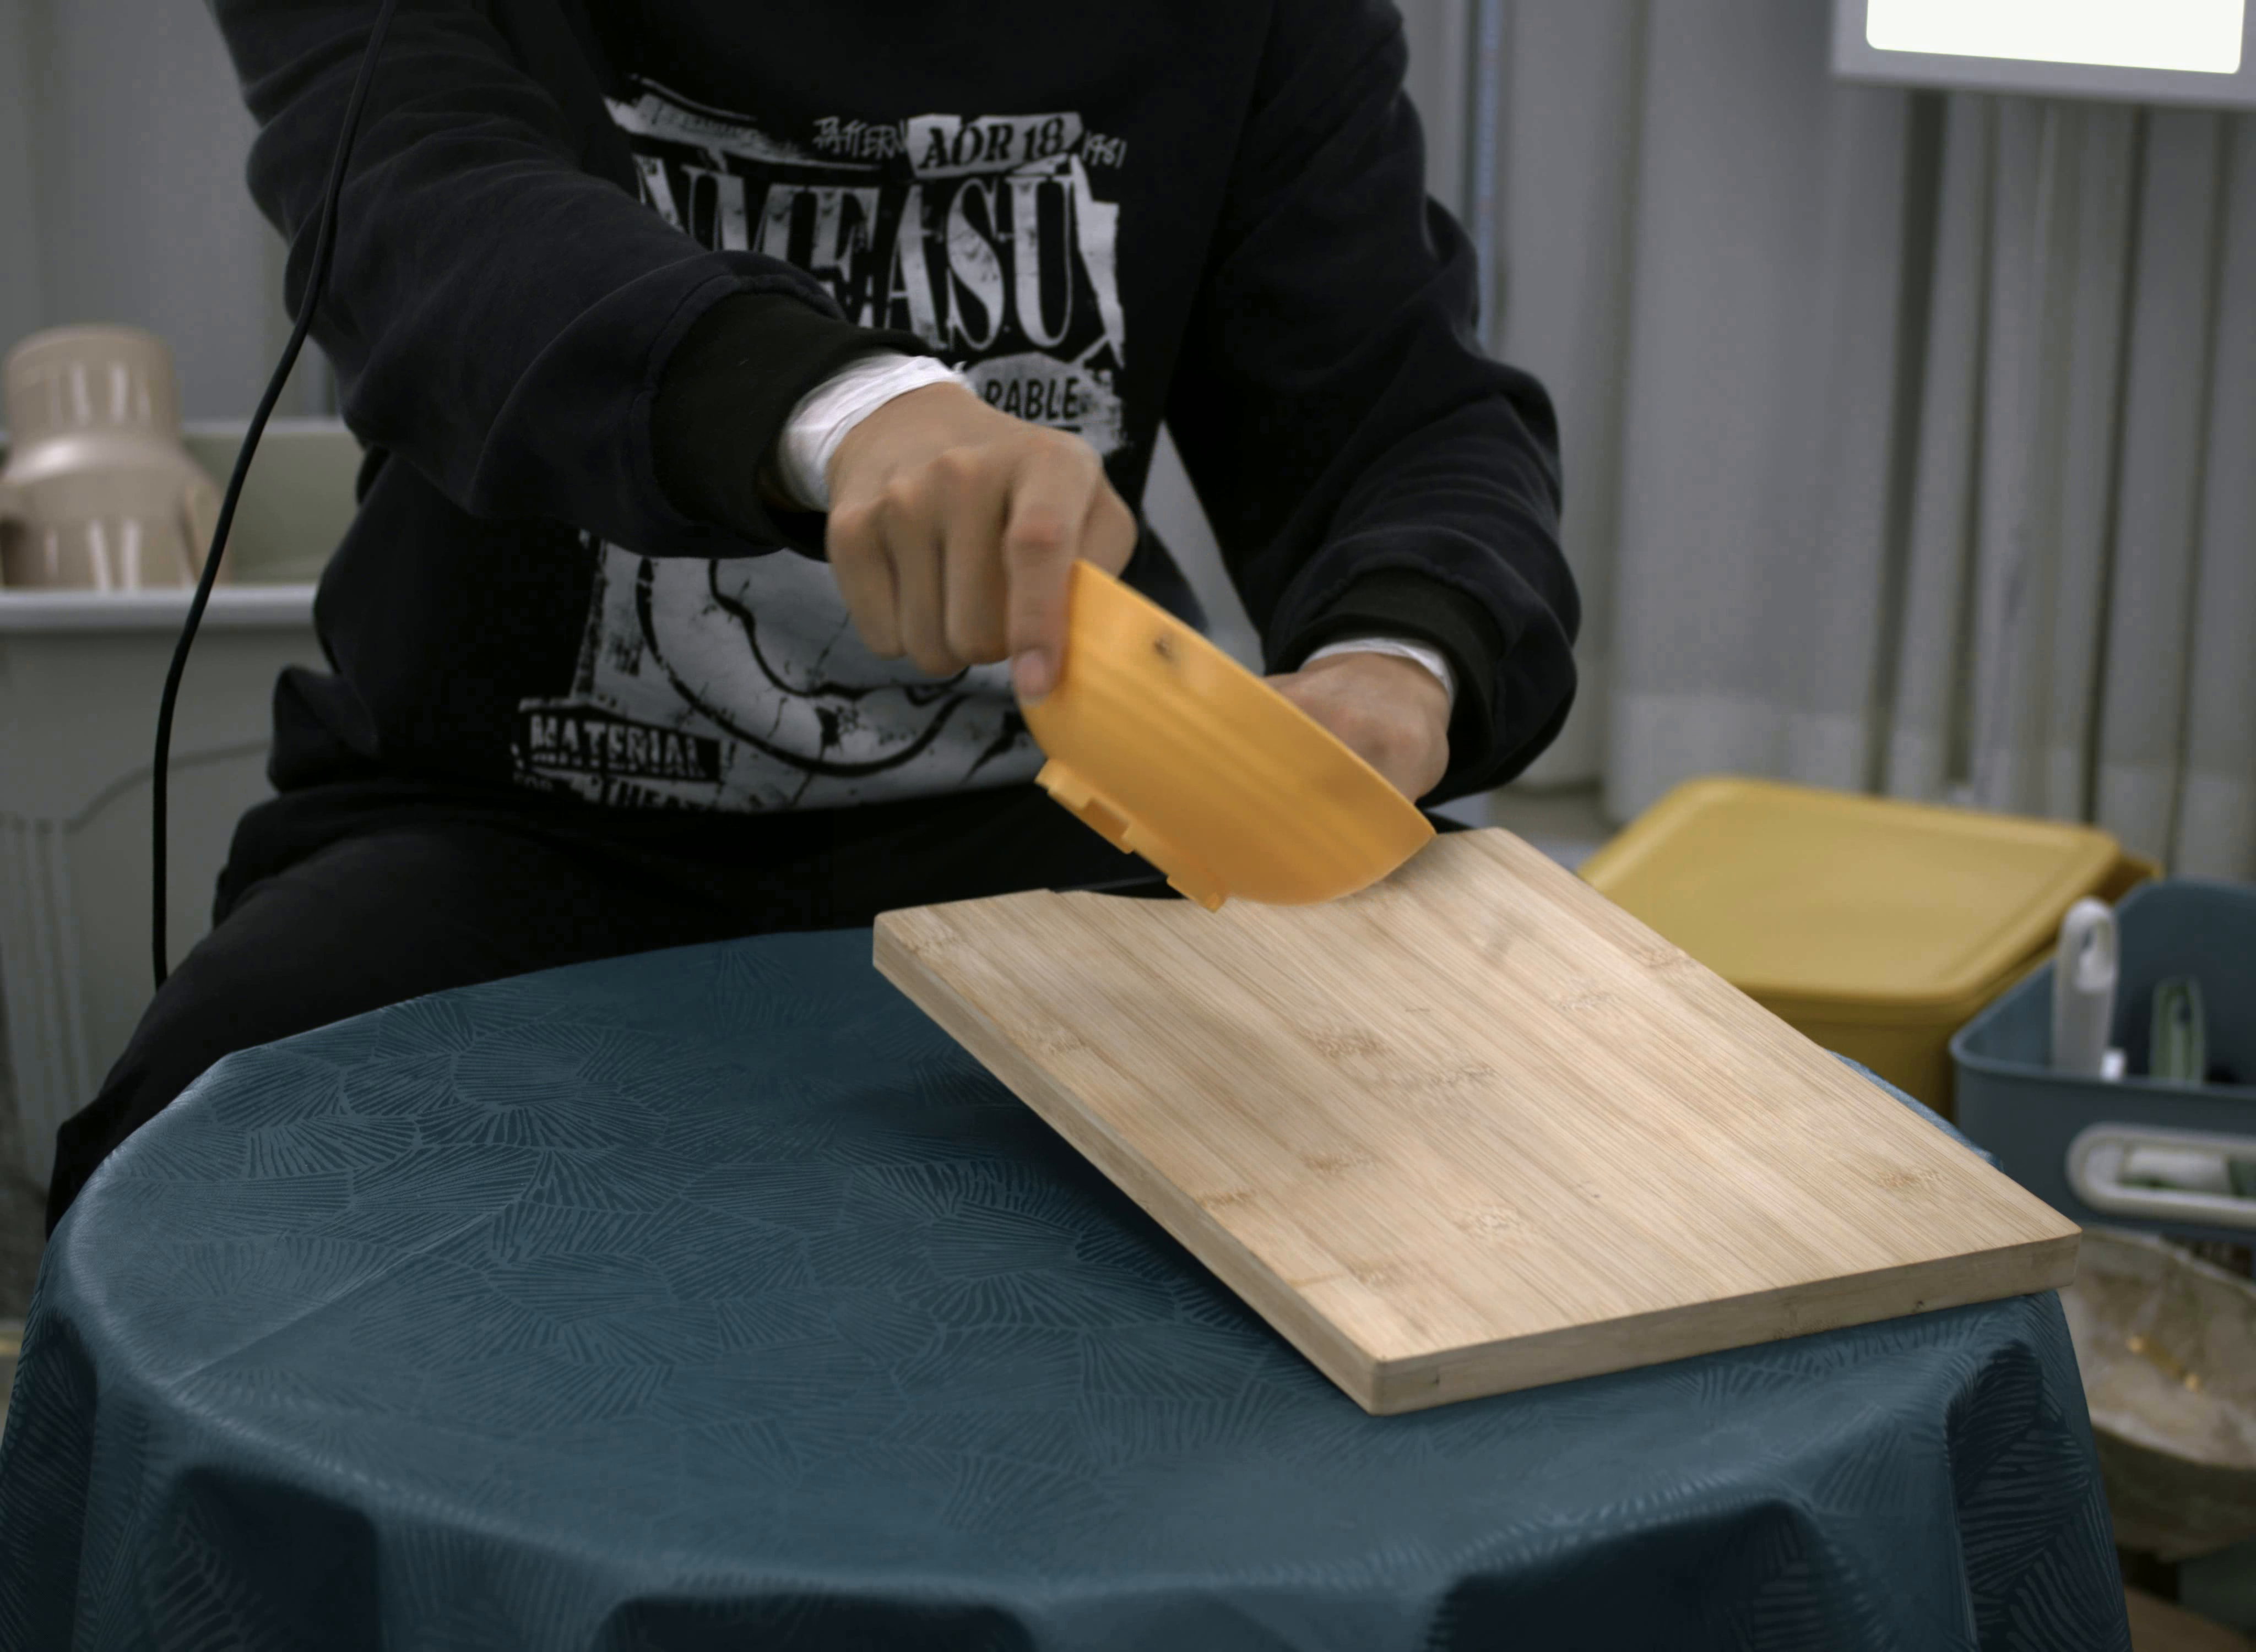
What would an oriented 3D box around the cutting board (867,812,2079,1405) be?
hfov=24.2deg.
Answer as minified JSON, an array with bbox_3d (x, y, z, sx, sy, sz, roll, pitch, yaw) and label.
[{"bbox_3d":[0.097,0.080,1.641,0.252,0.024,0.344,-8,25,-28],"label":"cutting board"}]

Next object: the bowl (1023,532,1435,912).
[{"bbox_3d":[0.017,-0.018,1.548,0.145,0.060,0.146,39,-6,5],"label":"bowl"}]
